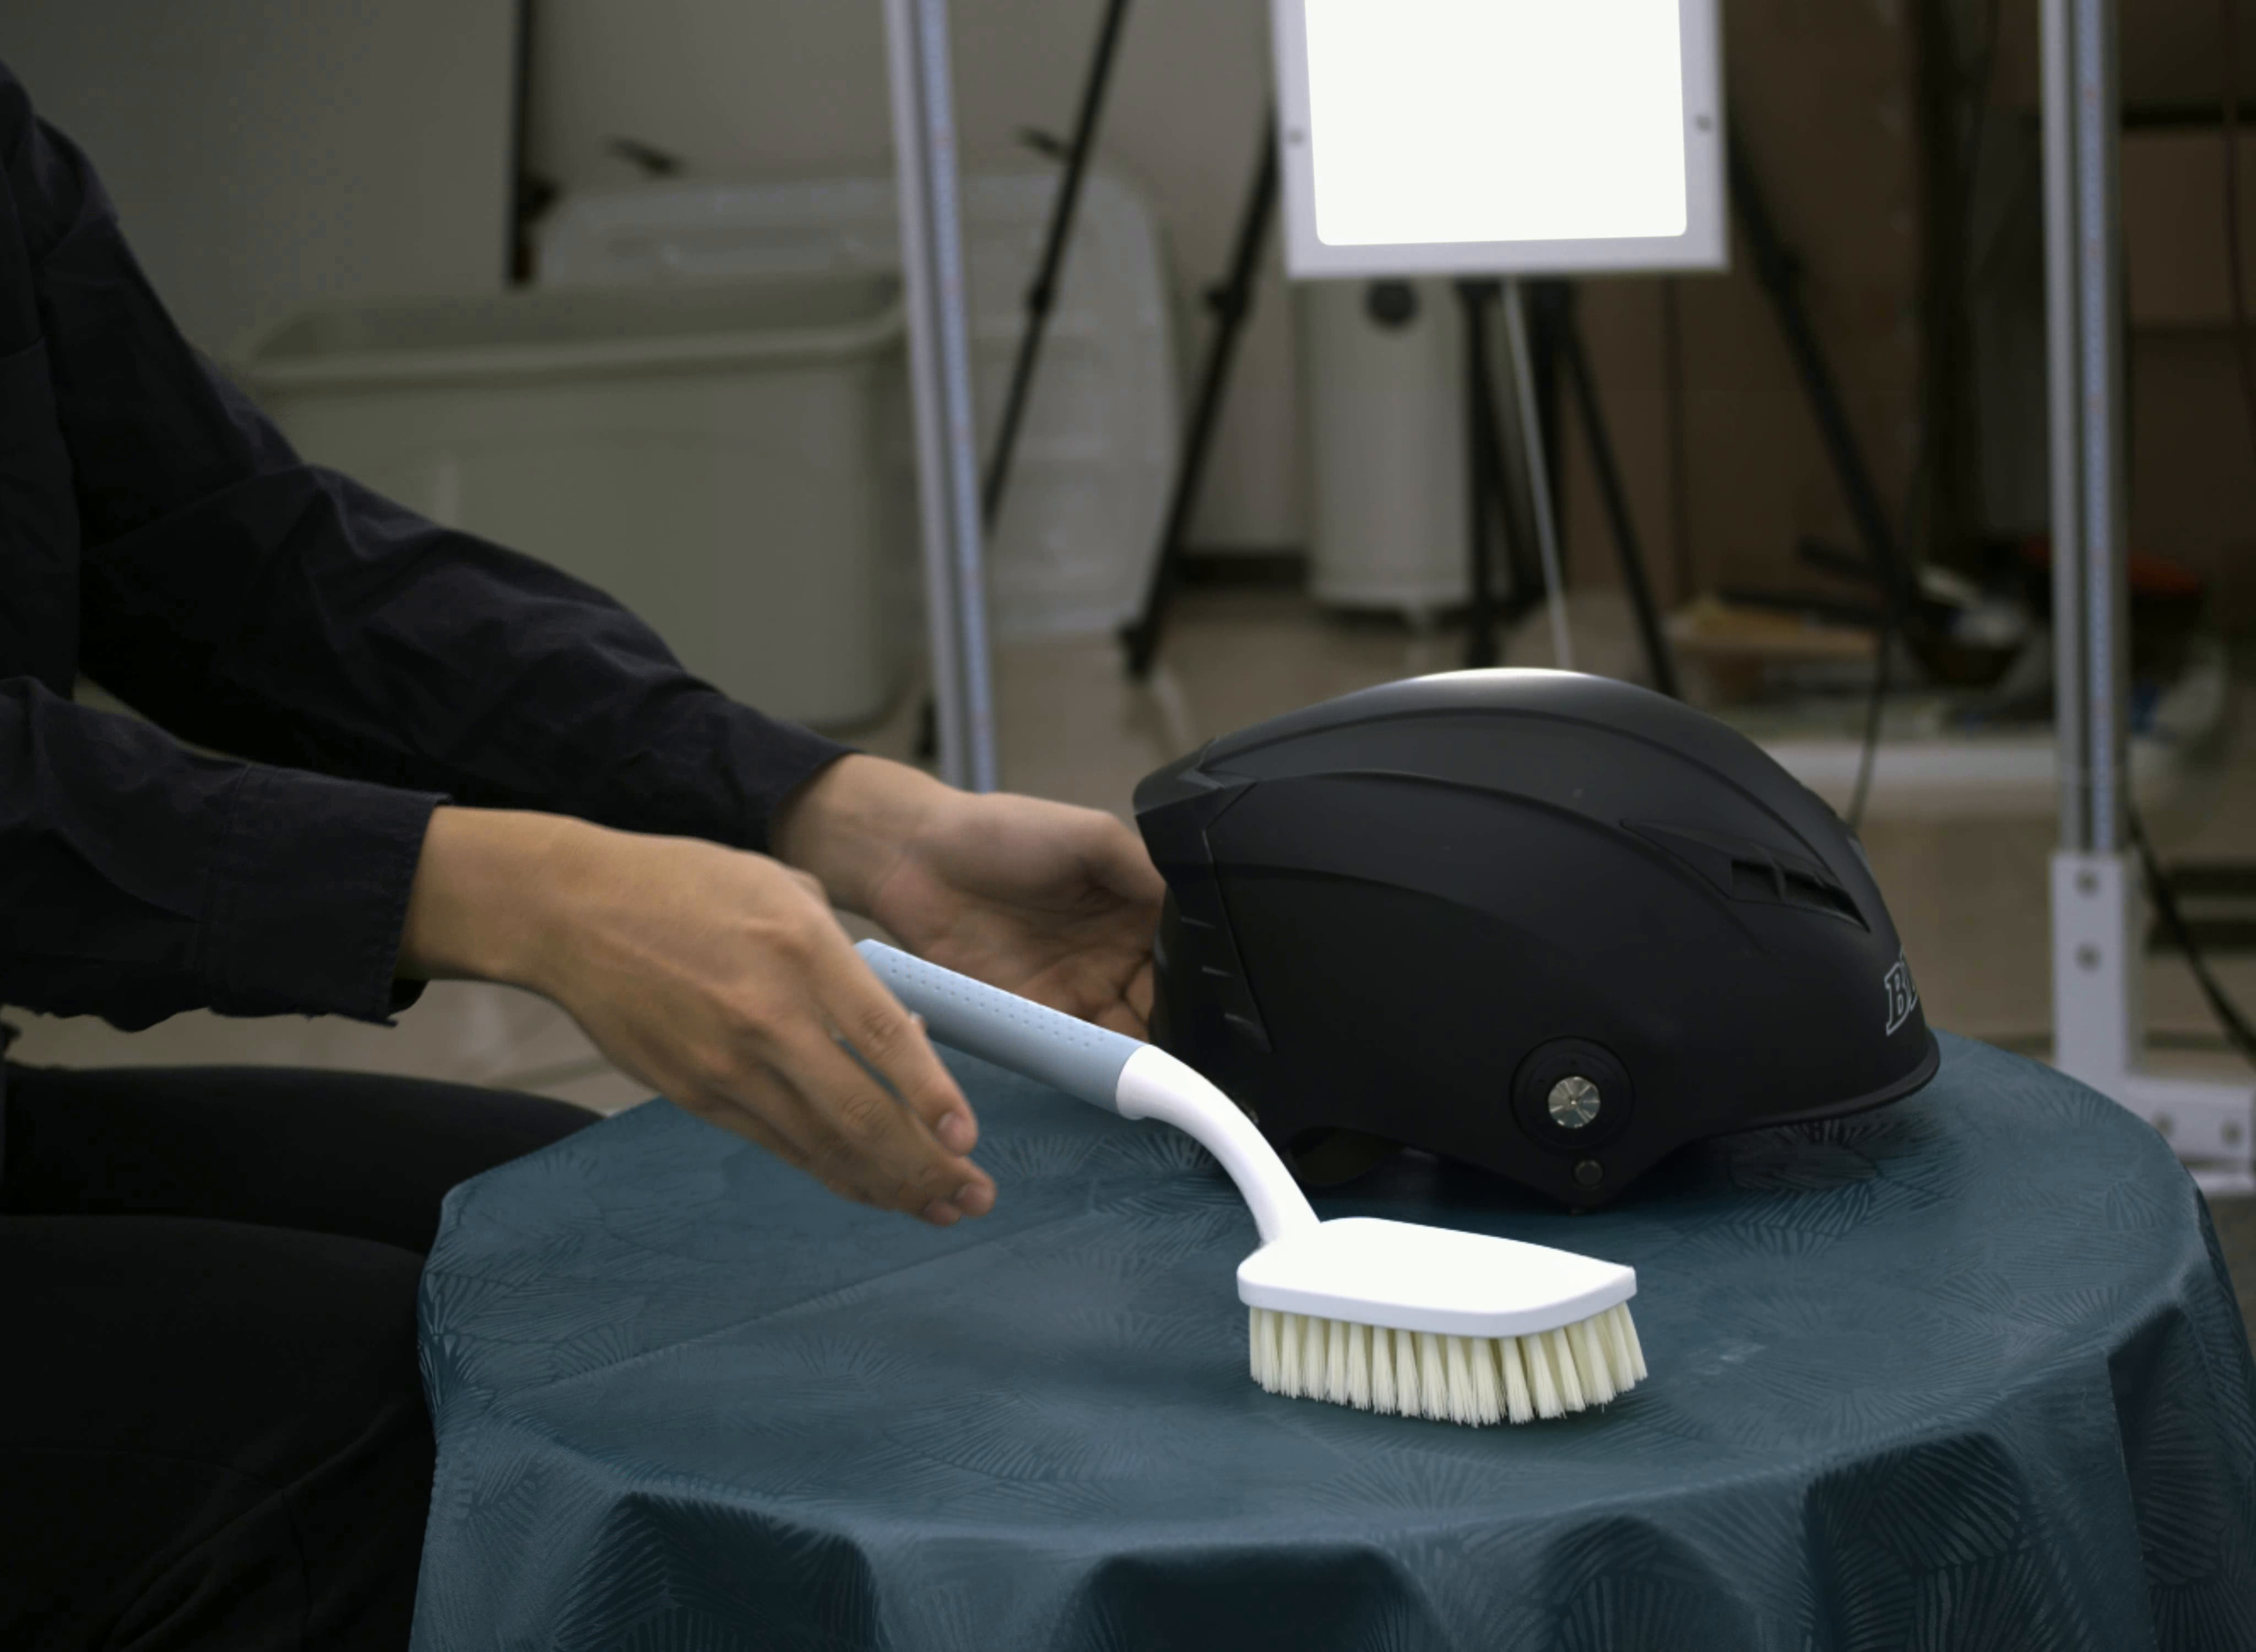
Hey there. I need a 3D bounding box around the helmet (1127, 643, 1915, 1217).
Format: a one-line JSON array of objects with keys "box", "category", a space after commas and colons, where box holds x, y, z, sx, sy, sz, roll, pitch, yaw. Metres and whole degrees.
[{"box": [0.136, 0.023, 1.919, 0.279, 0.173, 0.243, 2, 16, 15], "category": "helmet"}]

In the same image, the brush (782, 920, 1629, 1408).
[{"box": [0.018, 0.119, 1.739, 0.331, 0.084, 0.082, 20, -11, 34], "category": "brush"}]
